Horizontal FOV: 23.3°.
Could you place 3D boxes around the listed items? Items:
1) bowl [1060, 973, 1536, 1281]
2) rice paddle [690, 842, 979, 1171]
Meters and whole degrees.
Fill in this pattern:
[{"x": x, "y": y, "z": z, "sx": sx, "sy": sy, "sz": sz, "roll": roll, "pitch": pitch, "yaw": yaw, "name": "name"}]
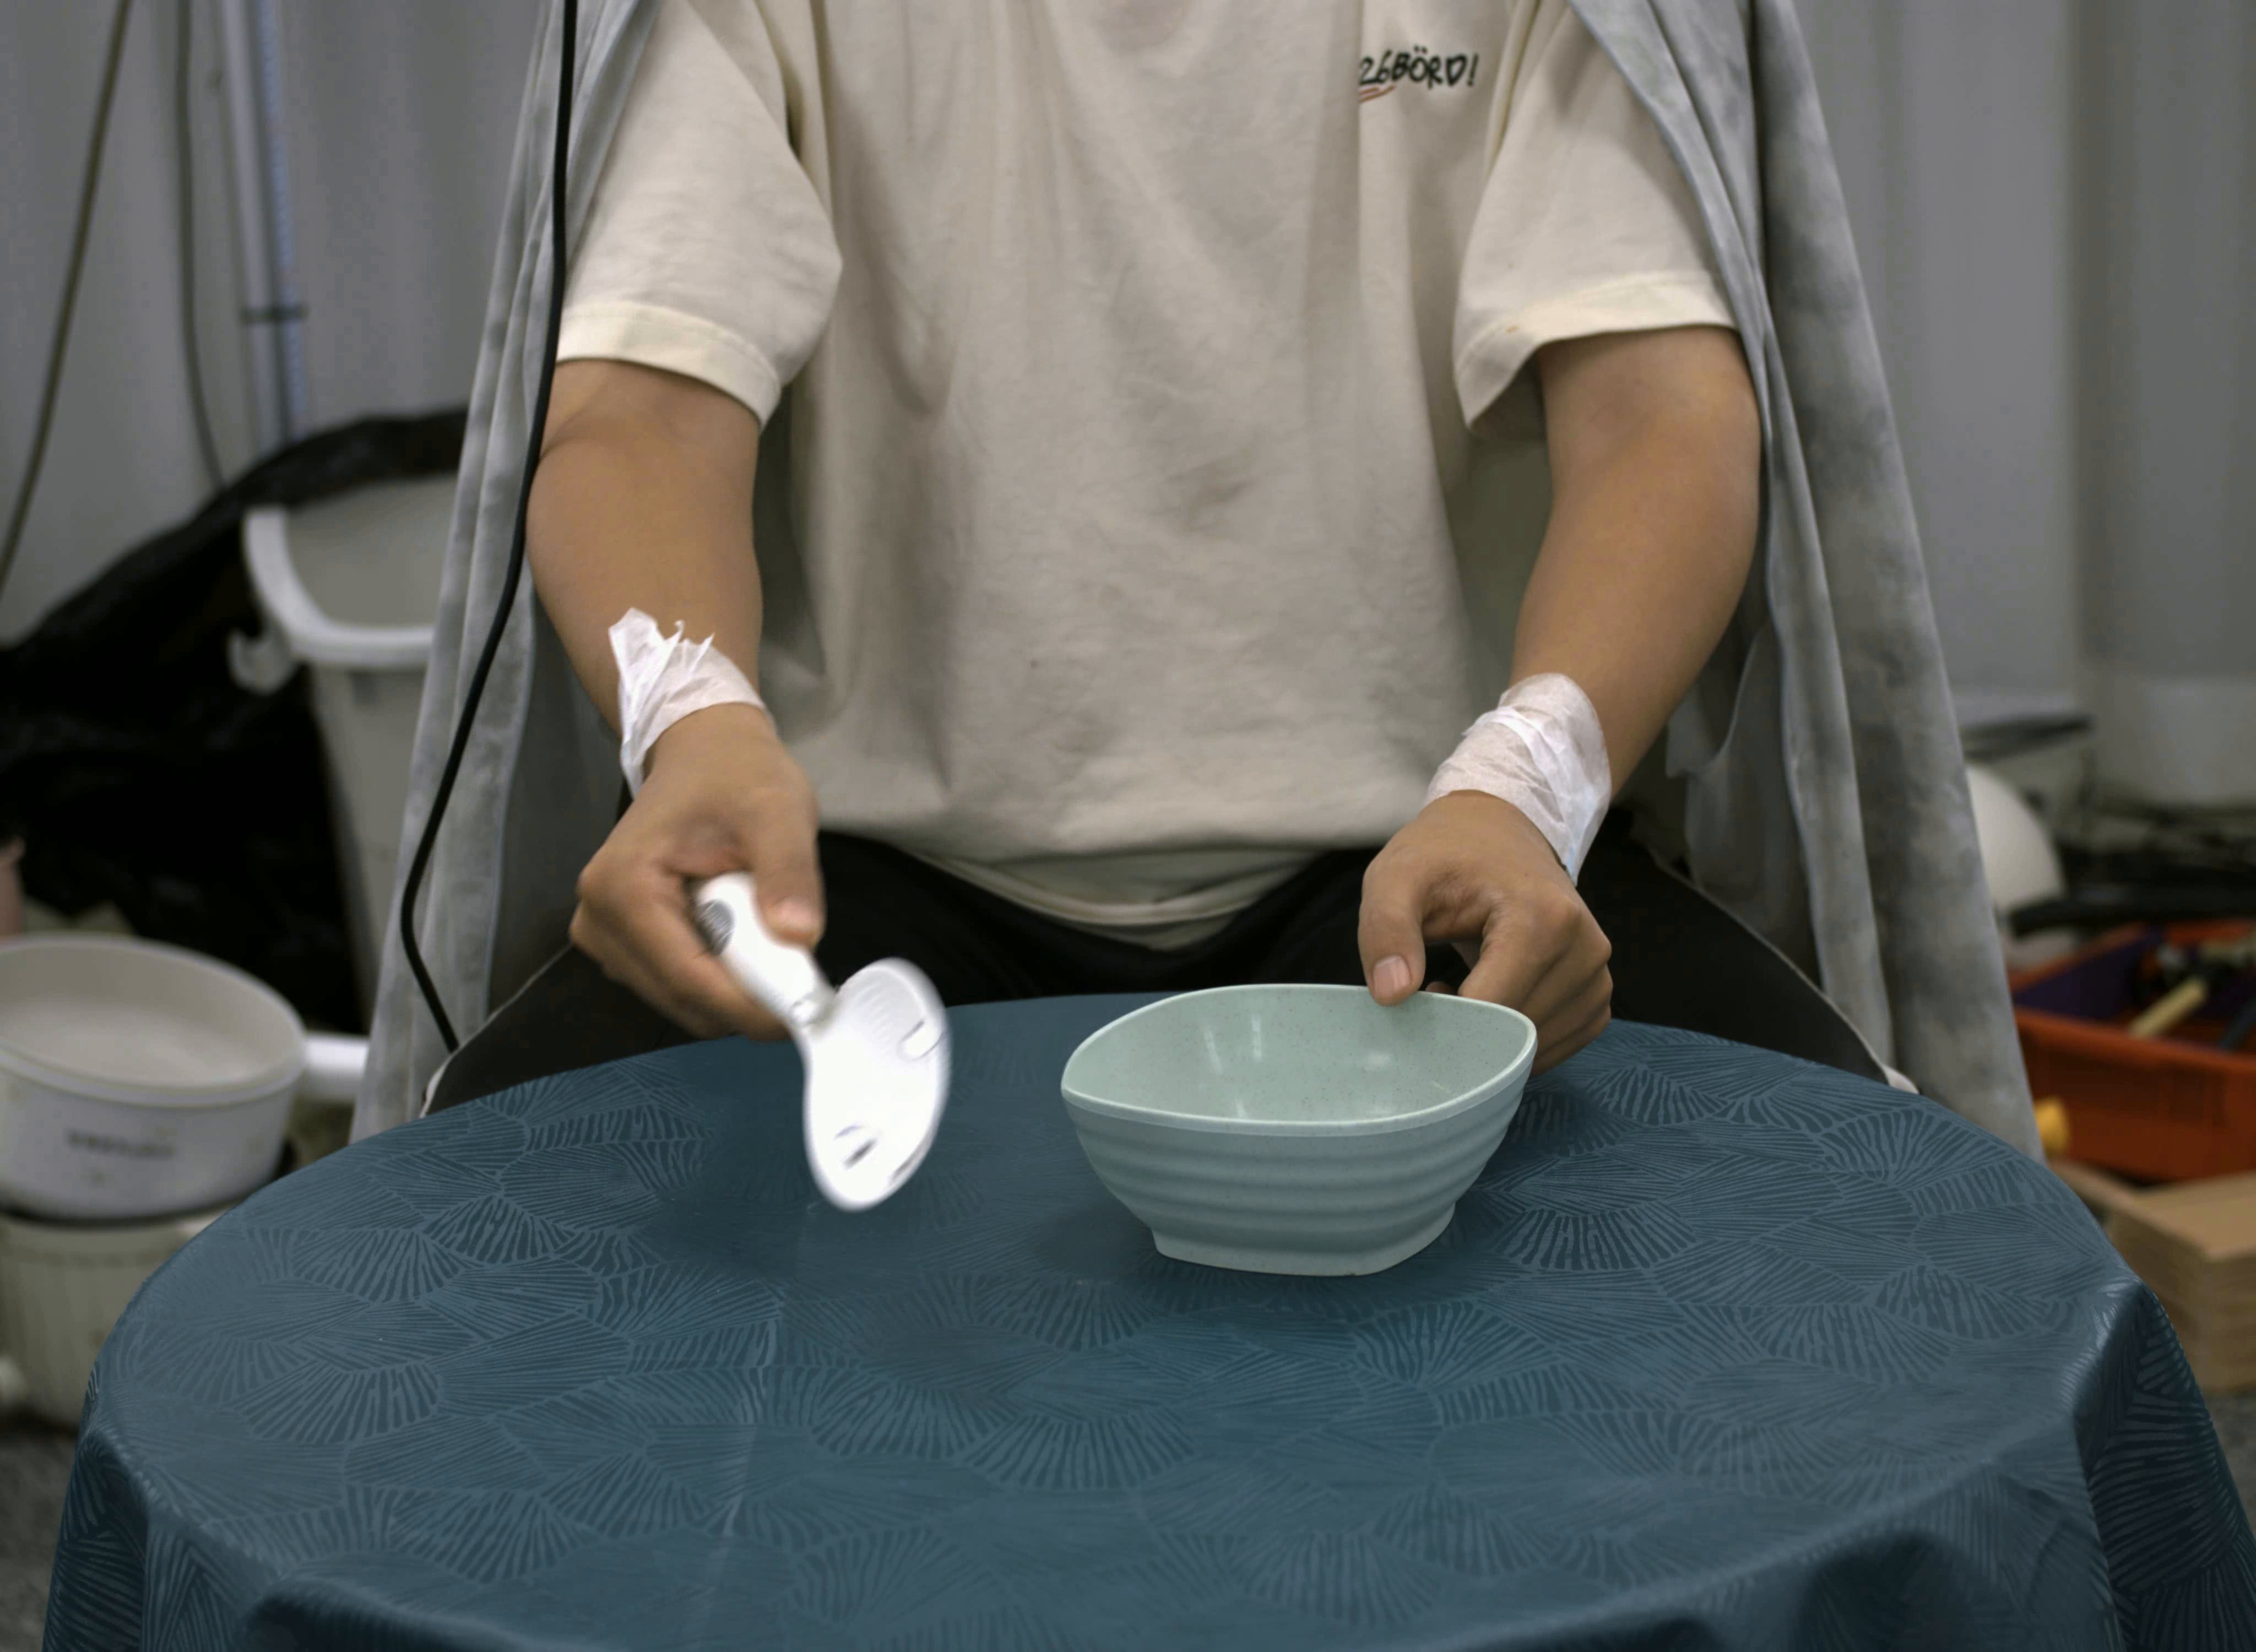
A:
[{"x": 0.054, "y": 0.095, "z": 1.669, "sx": 0.151, "sy": 0.058, "sz": 0.152, "roll": -4, "pitch": 17, "yaw": 1, "name": "bowl"}, {"x": -0.086, "y": 0.048, "z": 1.636, "sx": 0.029, "sy": 0.069, "sz": 0.207, "roll": 16, "pitch": 9, "yaw": -26, "name": "rice paddle"}]
